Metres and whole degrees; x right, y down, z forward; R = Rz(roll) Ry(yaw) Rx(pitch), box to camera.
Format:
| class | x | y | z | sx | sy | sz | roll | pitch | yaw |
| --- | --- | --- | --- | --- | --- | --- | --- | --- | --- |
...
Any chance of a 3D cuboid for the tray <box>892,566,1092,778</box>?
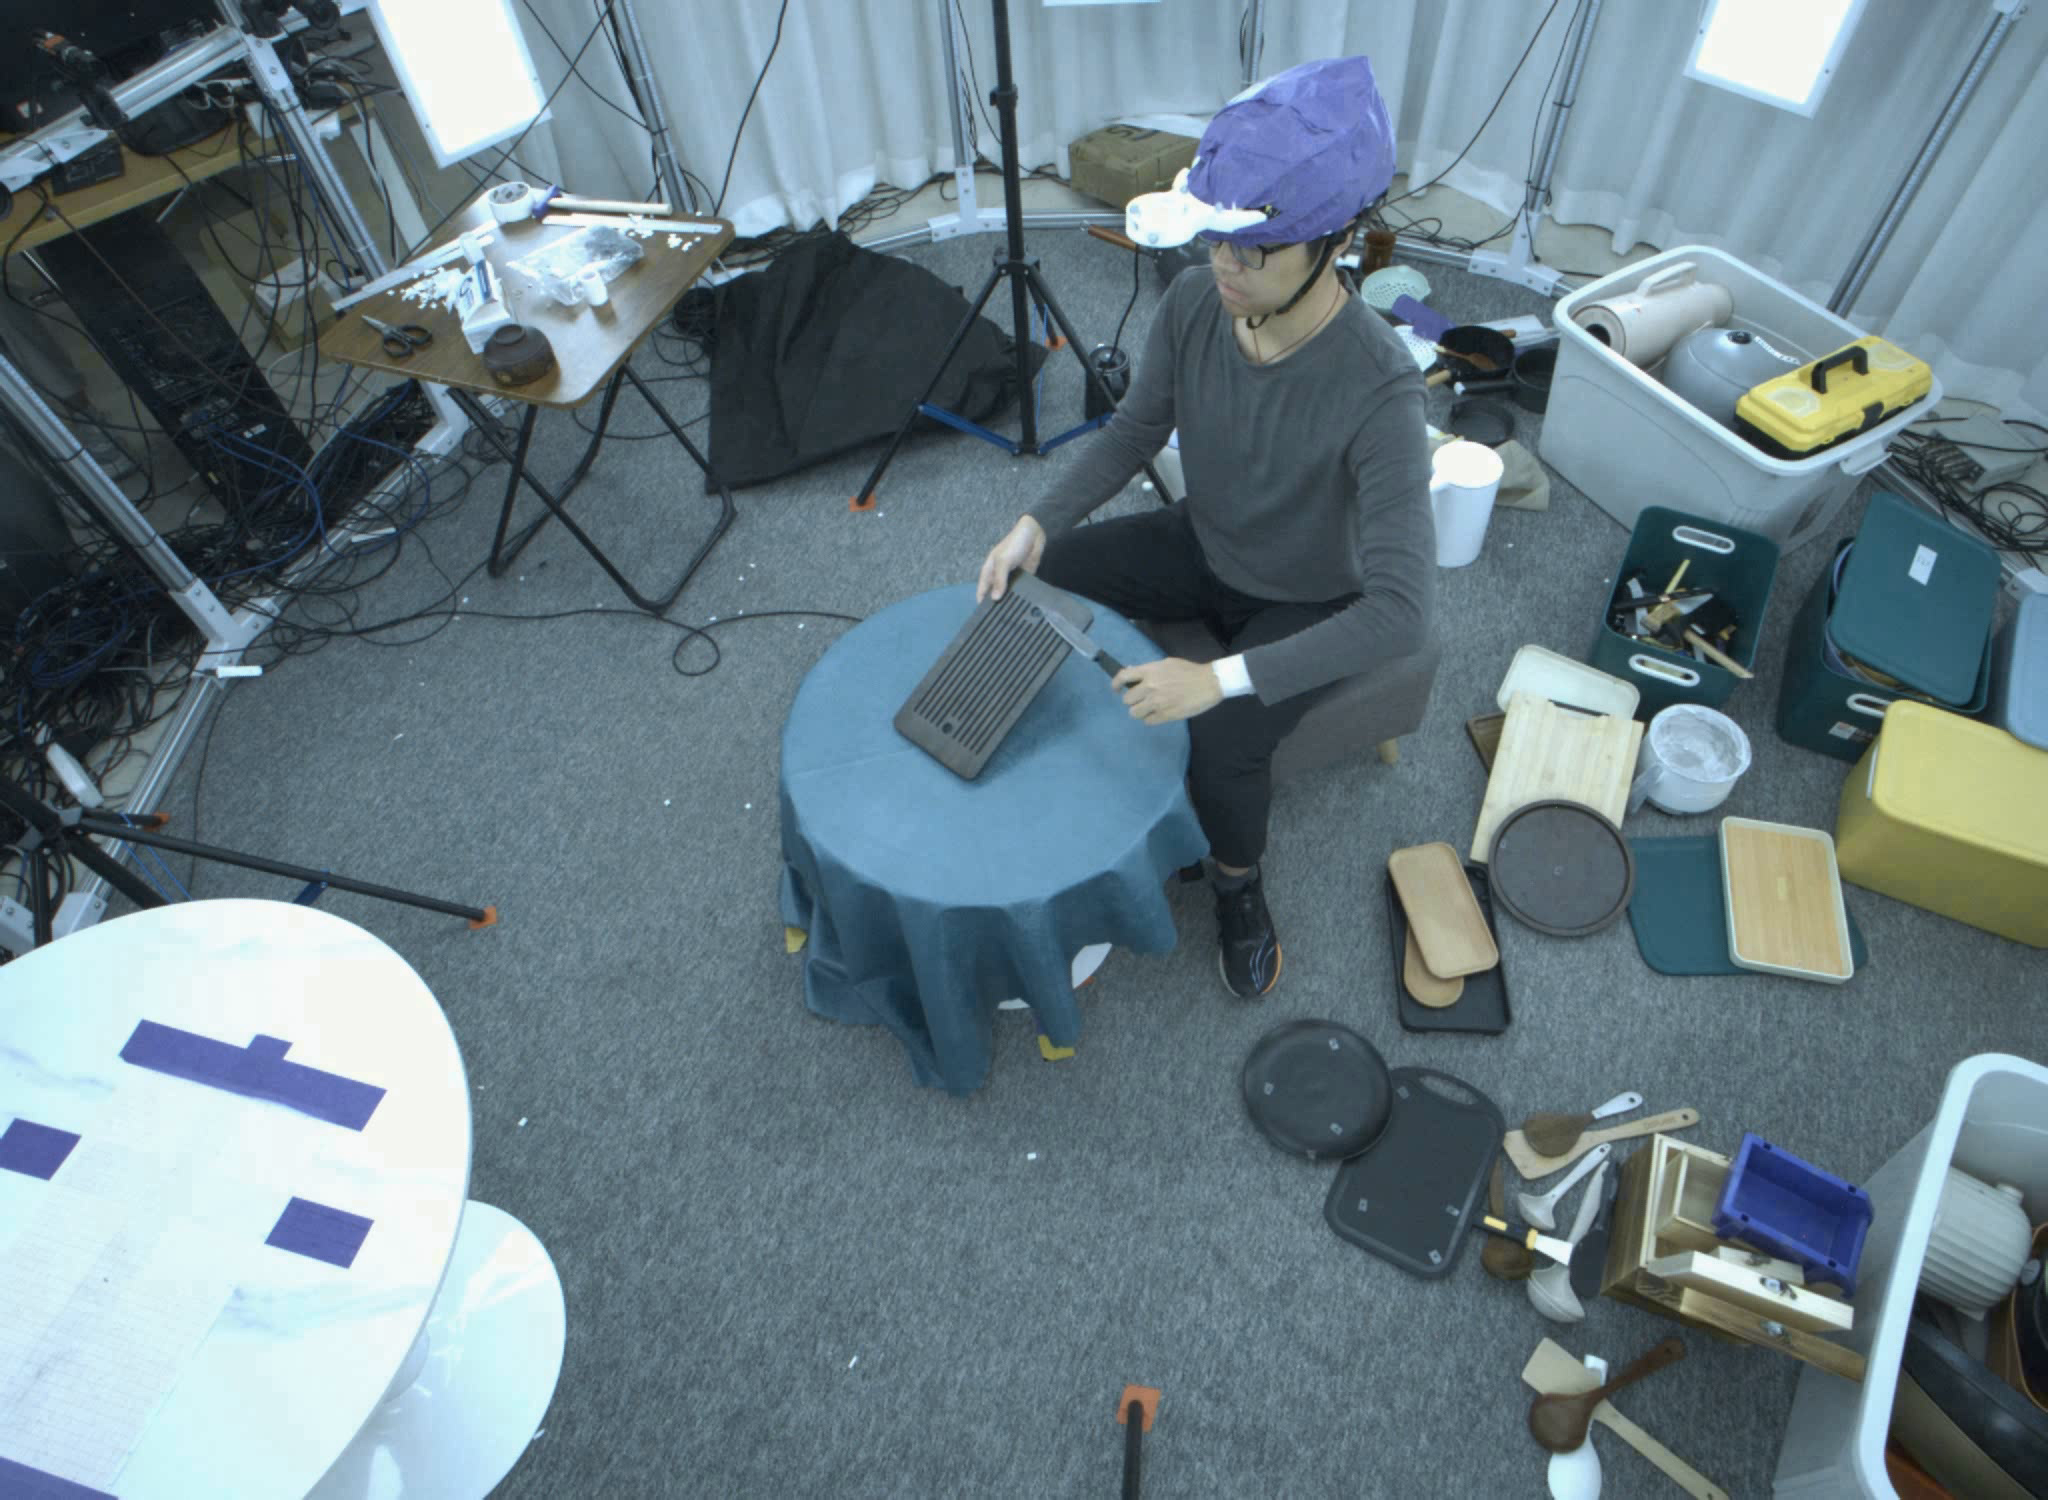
| class | x | y | z | sx | sy | sz | roll | pitch | yaw |
| --- | --- | --- | --- | --- | --- | --- | --- | --- | --- |
| tray | -0.048 | -0.118 | 1.806 | 0.167 | 0.019 | 0.306 | 34 | 84 | 25 |

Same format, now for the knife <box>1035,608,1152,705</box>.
| class | x | y | z | sx | sy | sz | roll | pitch | yaw |
| --- | --- | --- | --- | --- | --- | --- | --- | --- | --- |
| knife | 0.096 | -0.139 | 1.739 | 0.234 | 0.016 | 0.024 | 42 | 97 | 26 |
